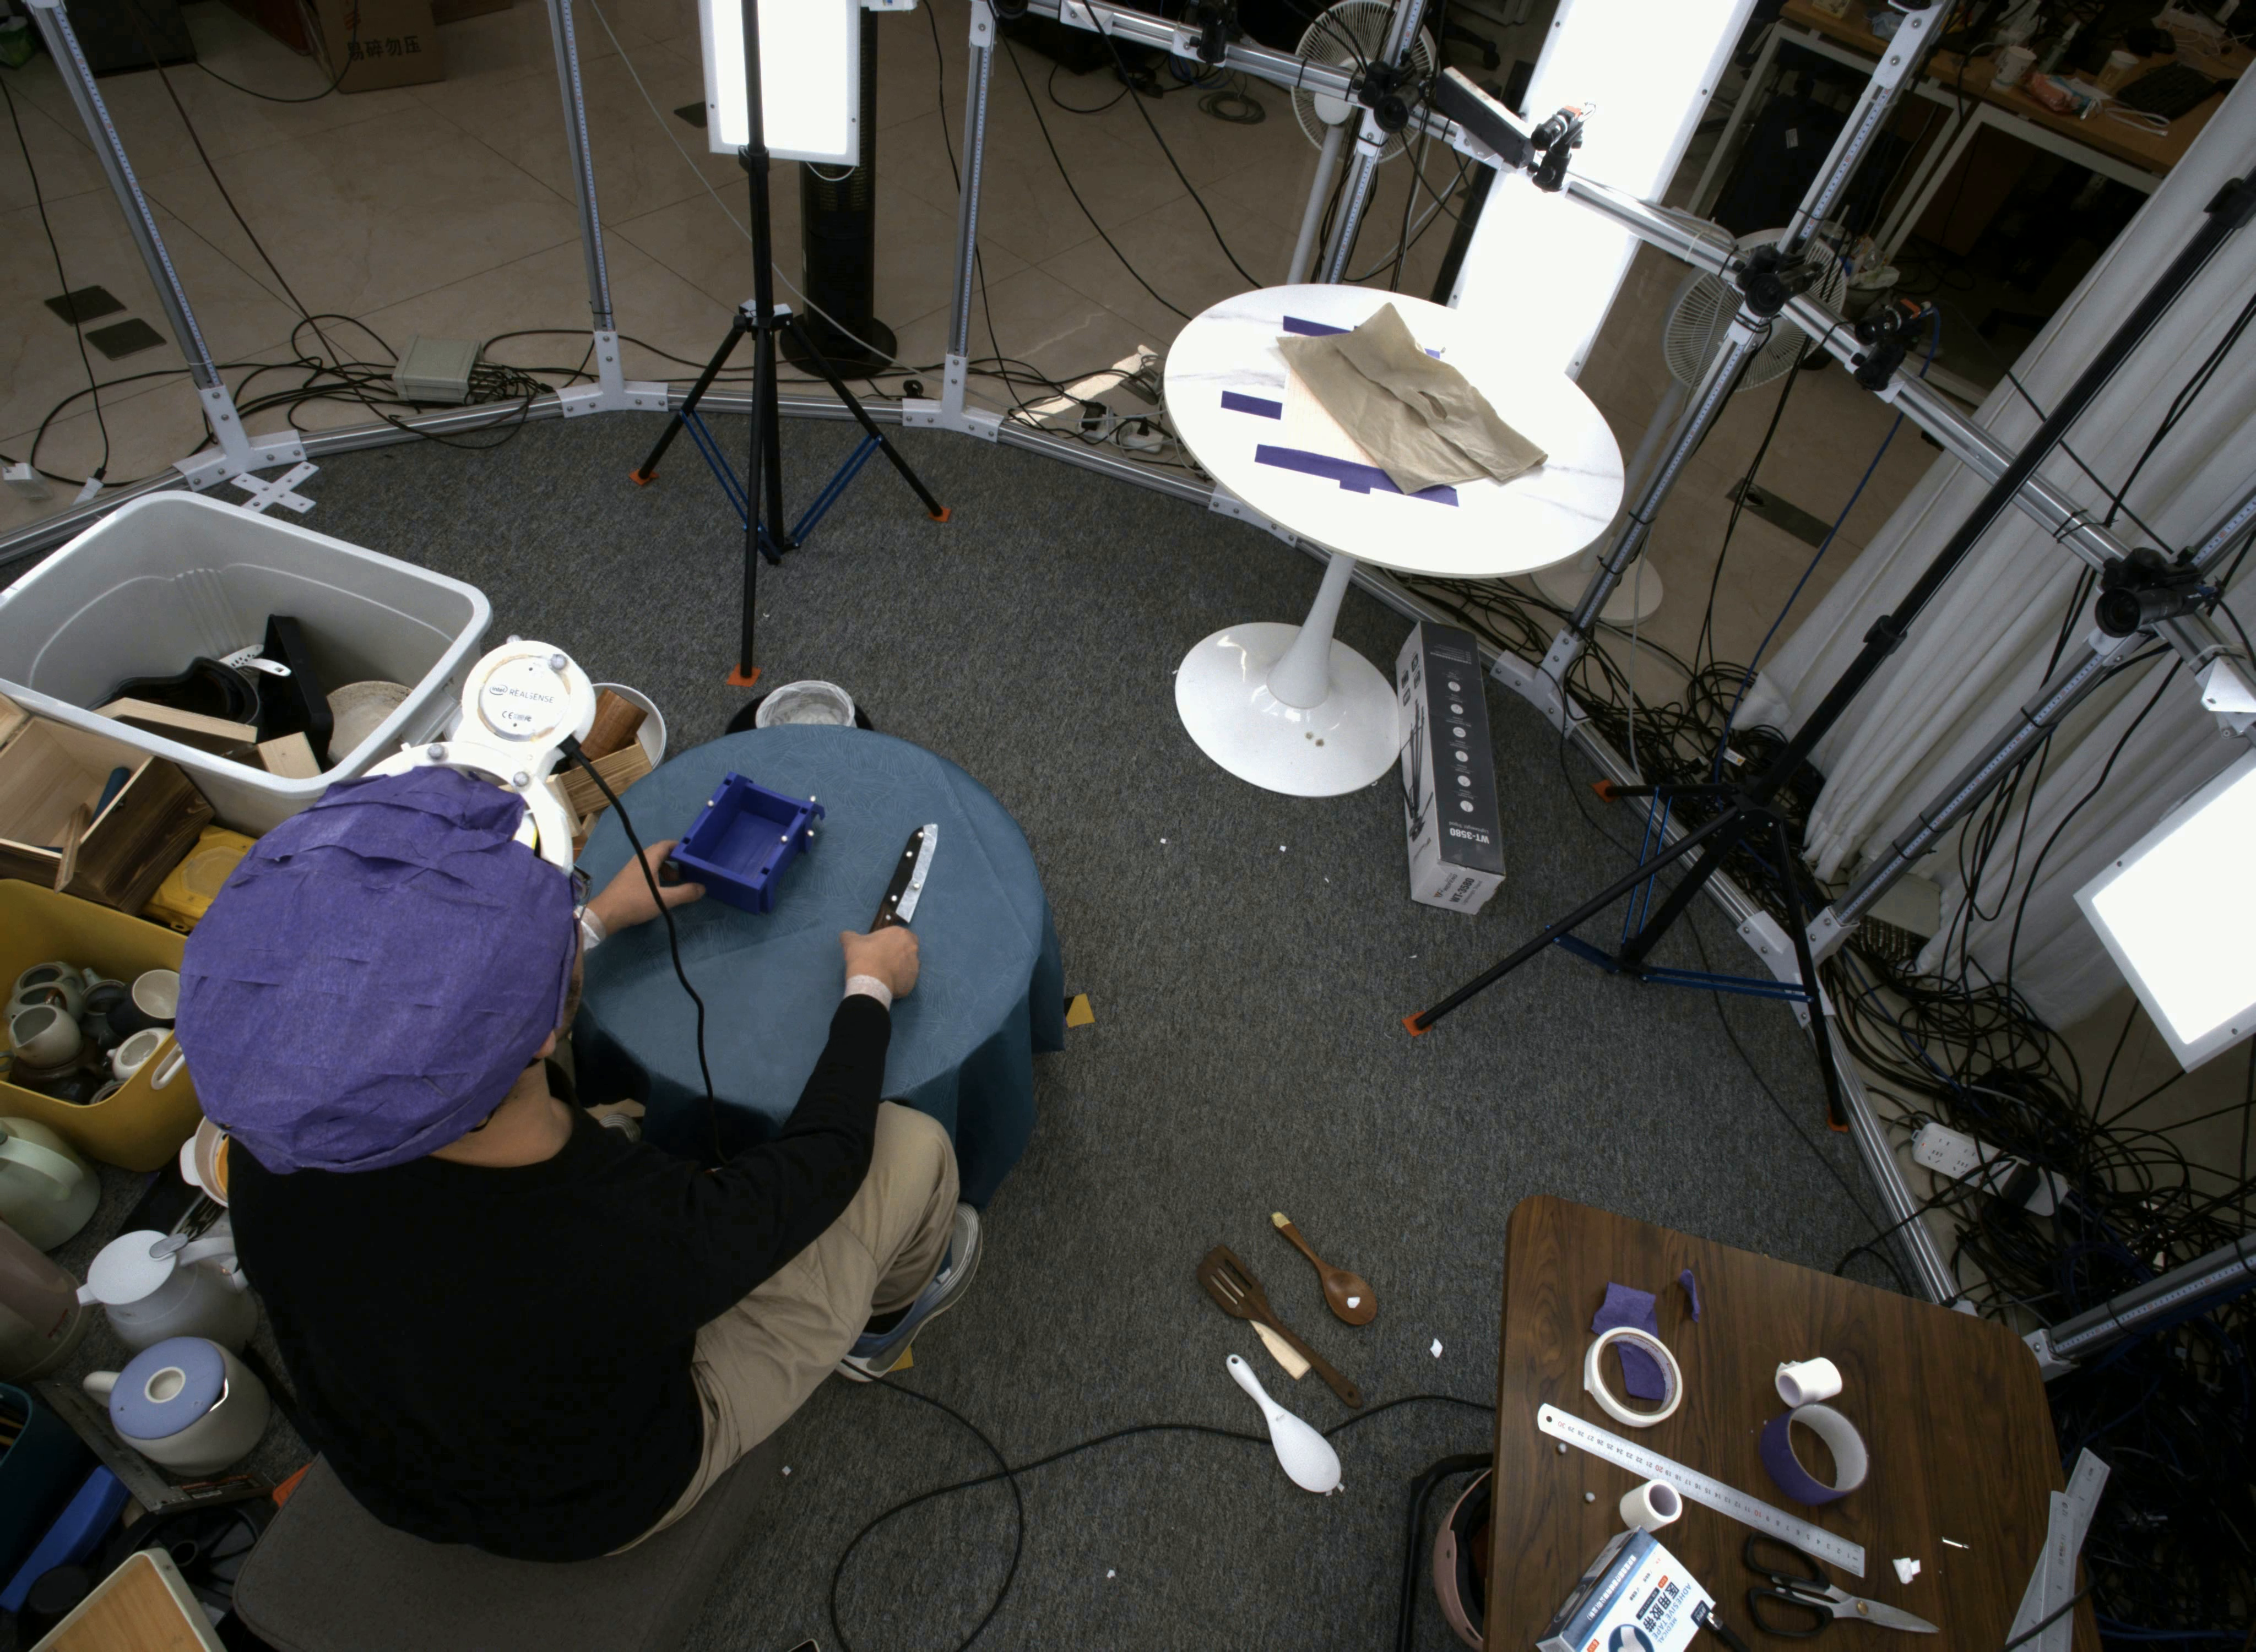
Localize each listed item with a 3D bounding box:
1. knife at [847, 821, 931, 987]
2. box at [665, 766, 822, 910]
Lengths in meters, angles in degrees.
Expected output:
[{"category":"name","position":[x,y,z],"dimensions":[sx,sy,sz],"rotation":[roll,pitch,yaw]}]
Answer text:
[{"category":"knife","position":[-0.301,0.091,1.660],"dimensions":[0.051,0.020,0.285],"rotation":[42,41,-24]},{"category":"box","position":[-0.487,0.008,1.644],"dimensions":[0.123,0.083,0.178],"rotation":[21,54,3]}]
